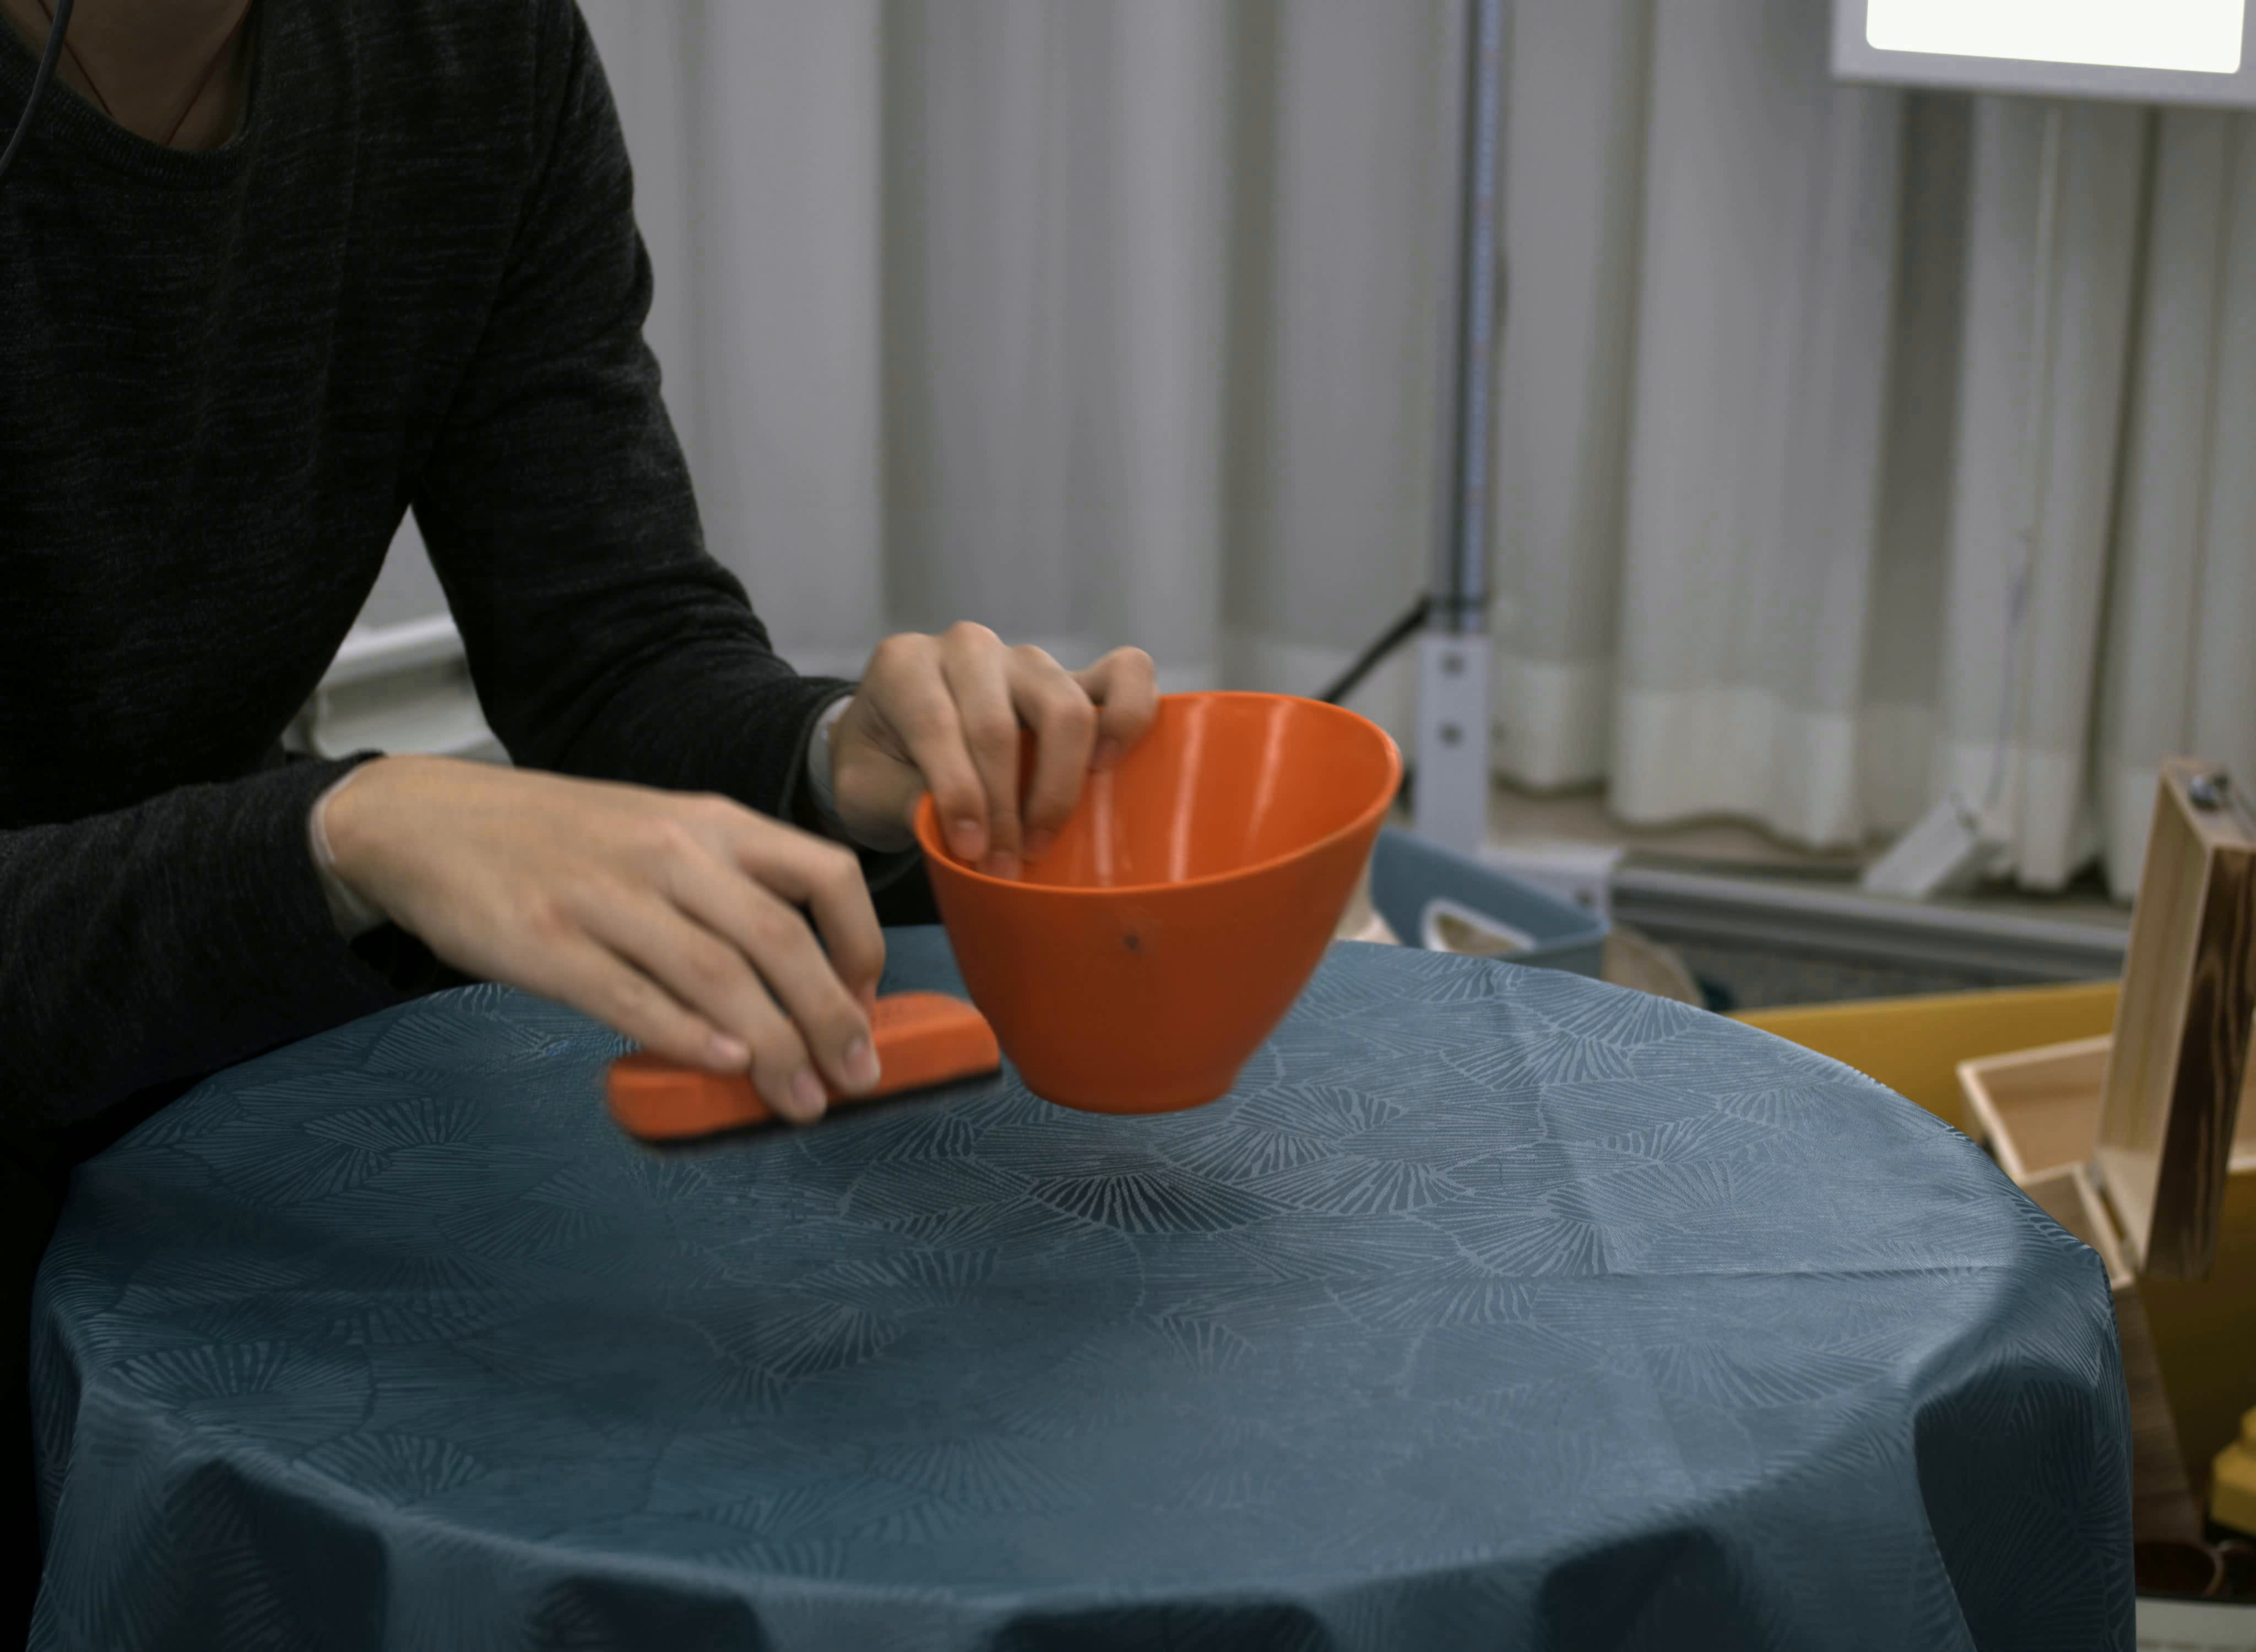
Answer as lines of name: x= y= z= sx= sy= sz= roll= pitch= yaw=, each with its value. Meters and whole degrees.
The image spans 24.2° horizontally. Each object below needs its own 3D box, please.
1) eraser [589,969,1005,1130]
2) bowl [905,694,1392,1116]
eraser: x=-0.092 y=0.061 z=1.460 sx=0.108 sy=0.023 sz=0.058 roll=-10 pitch=10 yaw=-30
bowl: x=0.006 y=0.027 z=1.605 sx=0.147 sy=0.105 sz=0.147 roll=1 pitch=18 yaw=0
